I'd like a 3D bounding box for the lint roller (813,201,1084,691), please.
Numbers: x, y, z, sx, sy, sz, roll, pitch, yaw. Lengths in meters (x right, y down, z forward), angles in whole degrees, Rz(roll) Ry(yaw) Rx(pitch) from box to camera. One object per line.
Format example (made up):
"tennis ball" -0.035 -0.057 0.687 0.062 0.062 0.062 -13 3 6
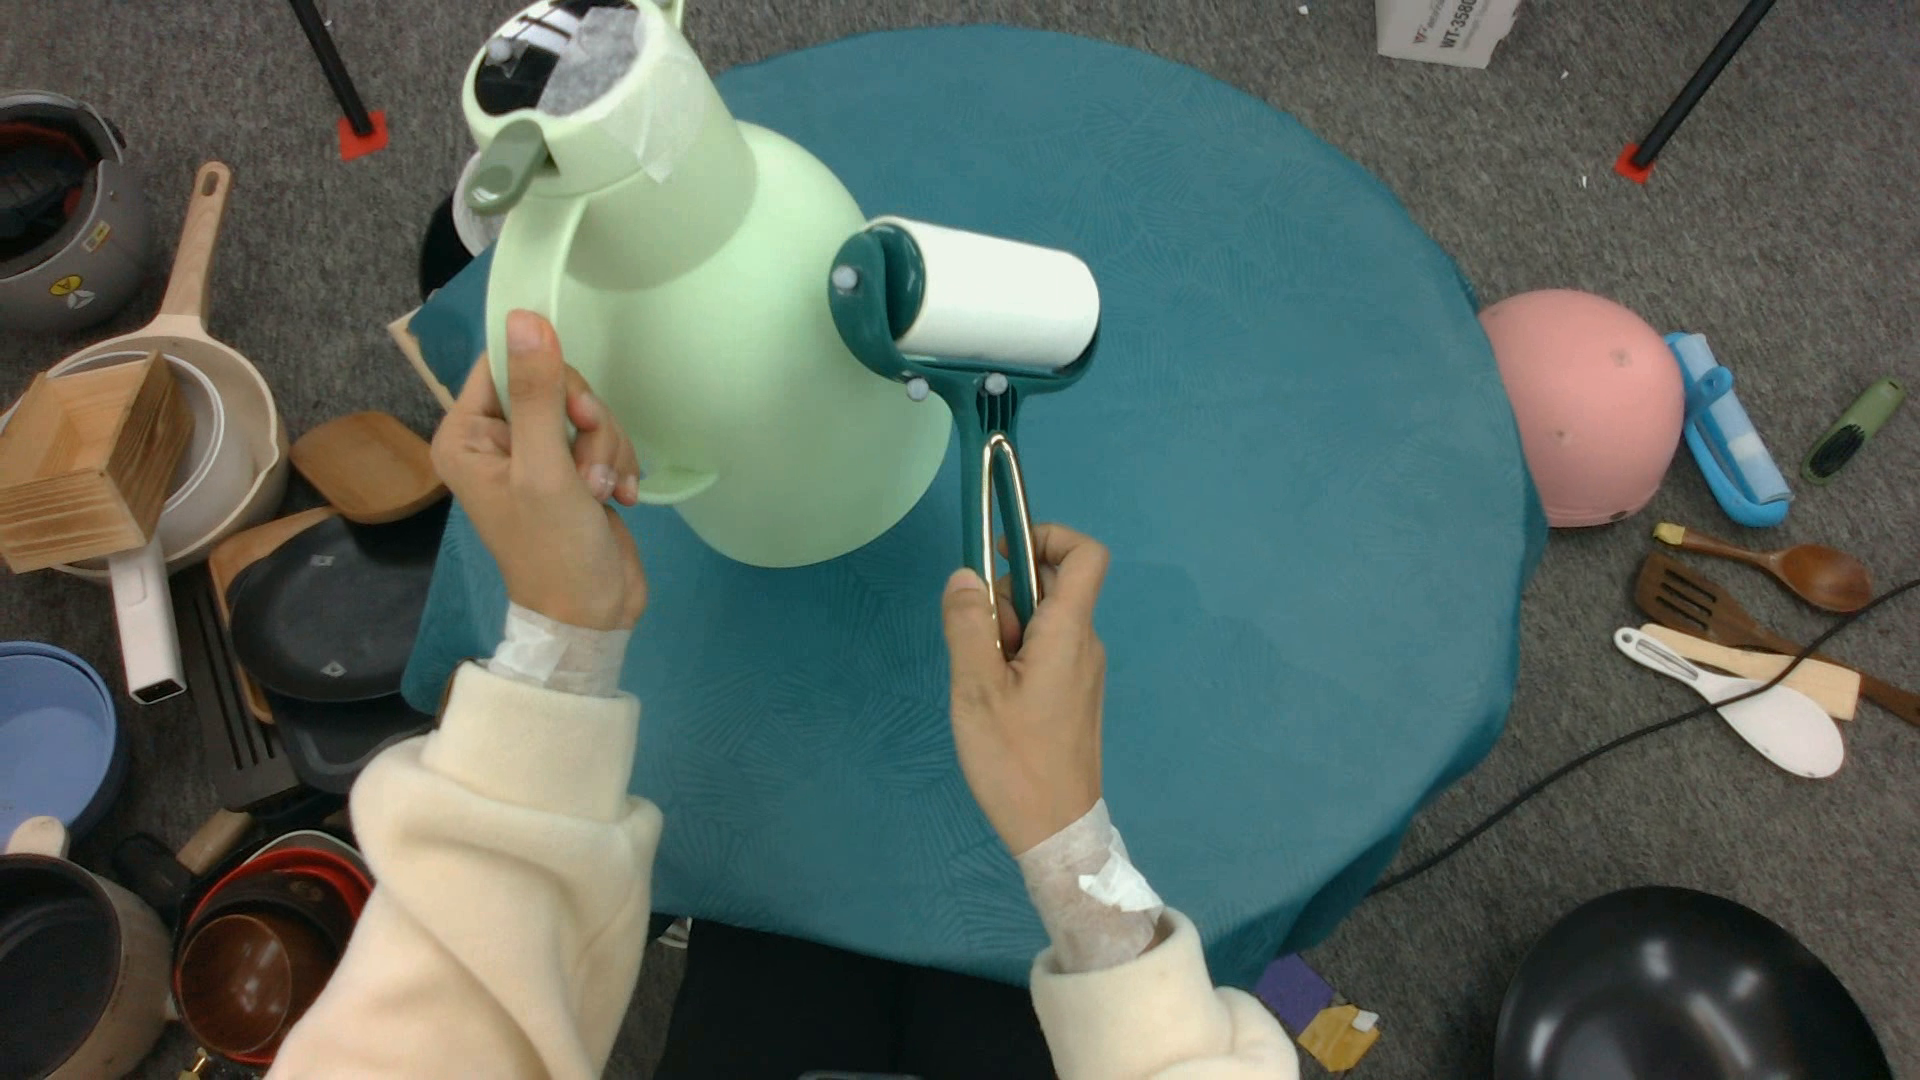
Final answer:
"lint roller" 0.011 -0.035 0.523 0.135 0.048 0.180 -2 77 -49

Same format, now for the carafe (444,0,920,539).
"carafe" -0.117 -0.100 0.568 0.144 0.256 0.187 8 69 18
